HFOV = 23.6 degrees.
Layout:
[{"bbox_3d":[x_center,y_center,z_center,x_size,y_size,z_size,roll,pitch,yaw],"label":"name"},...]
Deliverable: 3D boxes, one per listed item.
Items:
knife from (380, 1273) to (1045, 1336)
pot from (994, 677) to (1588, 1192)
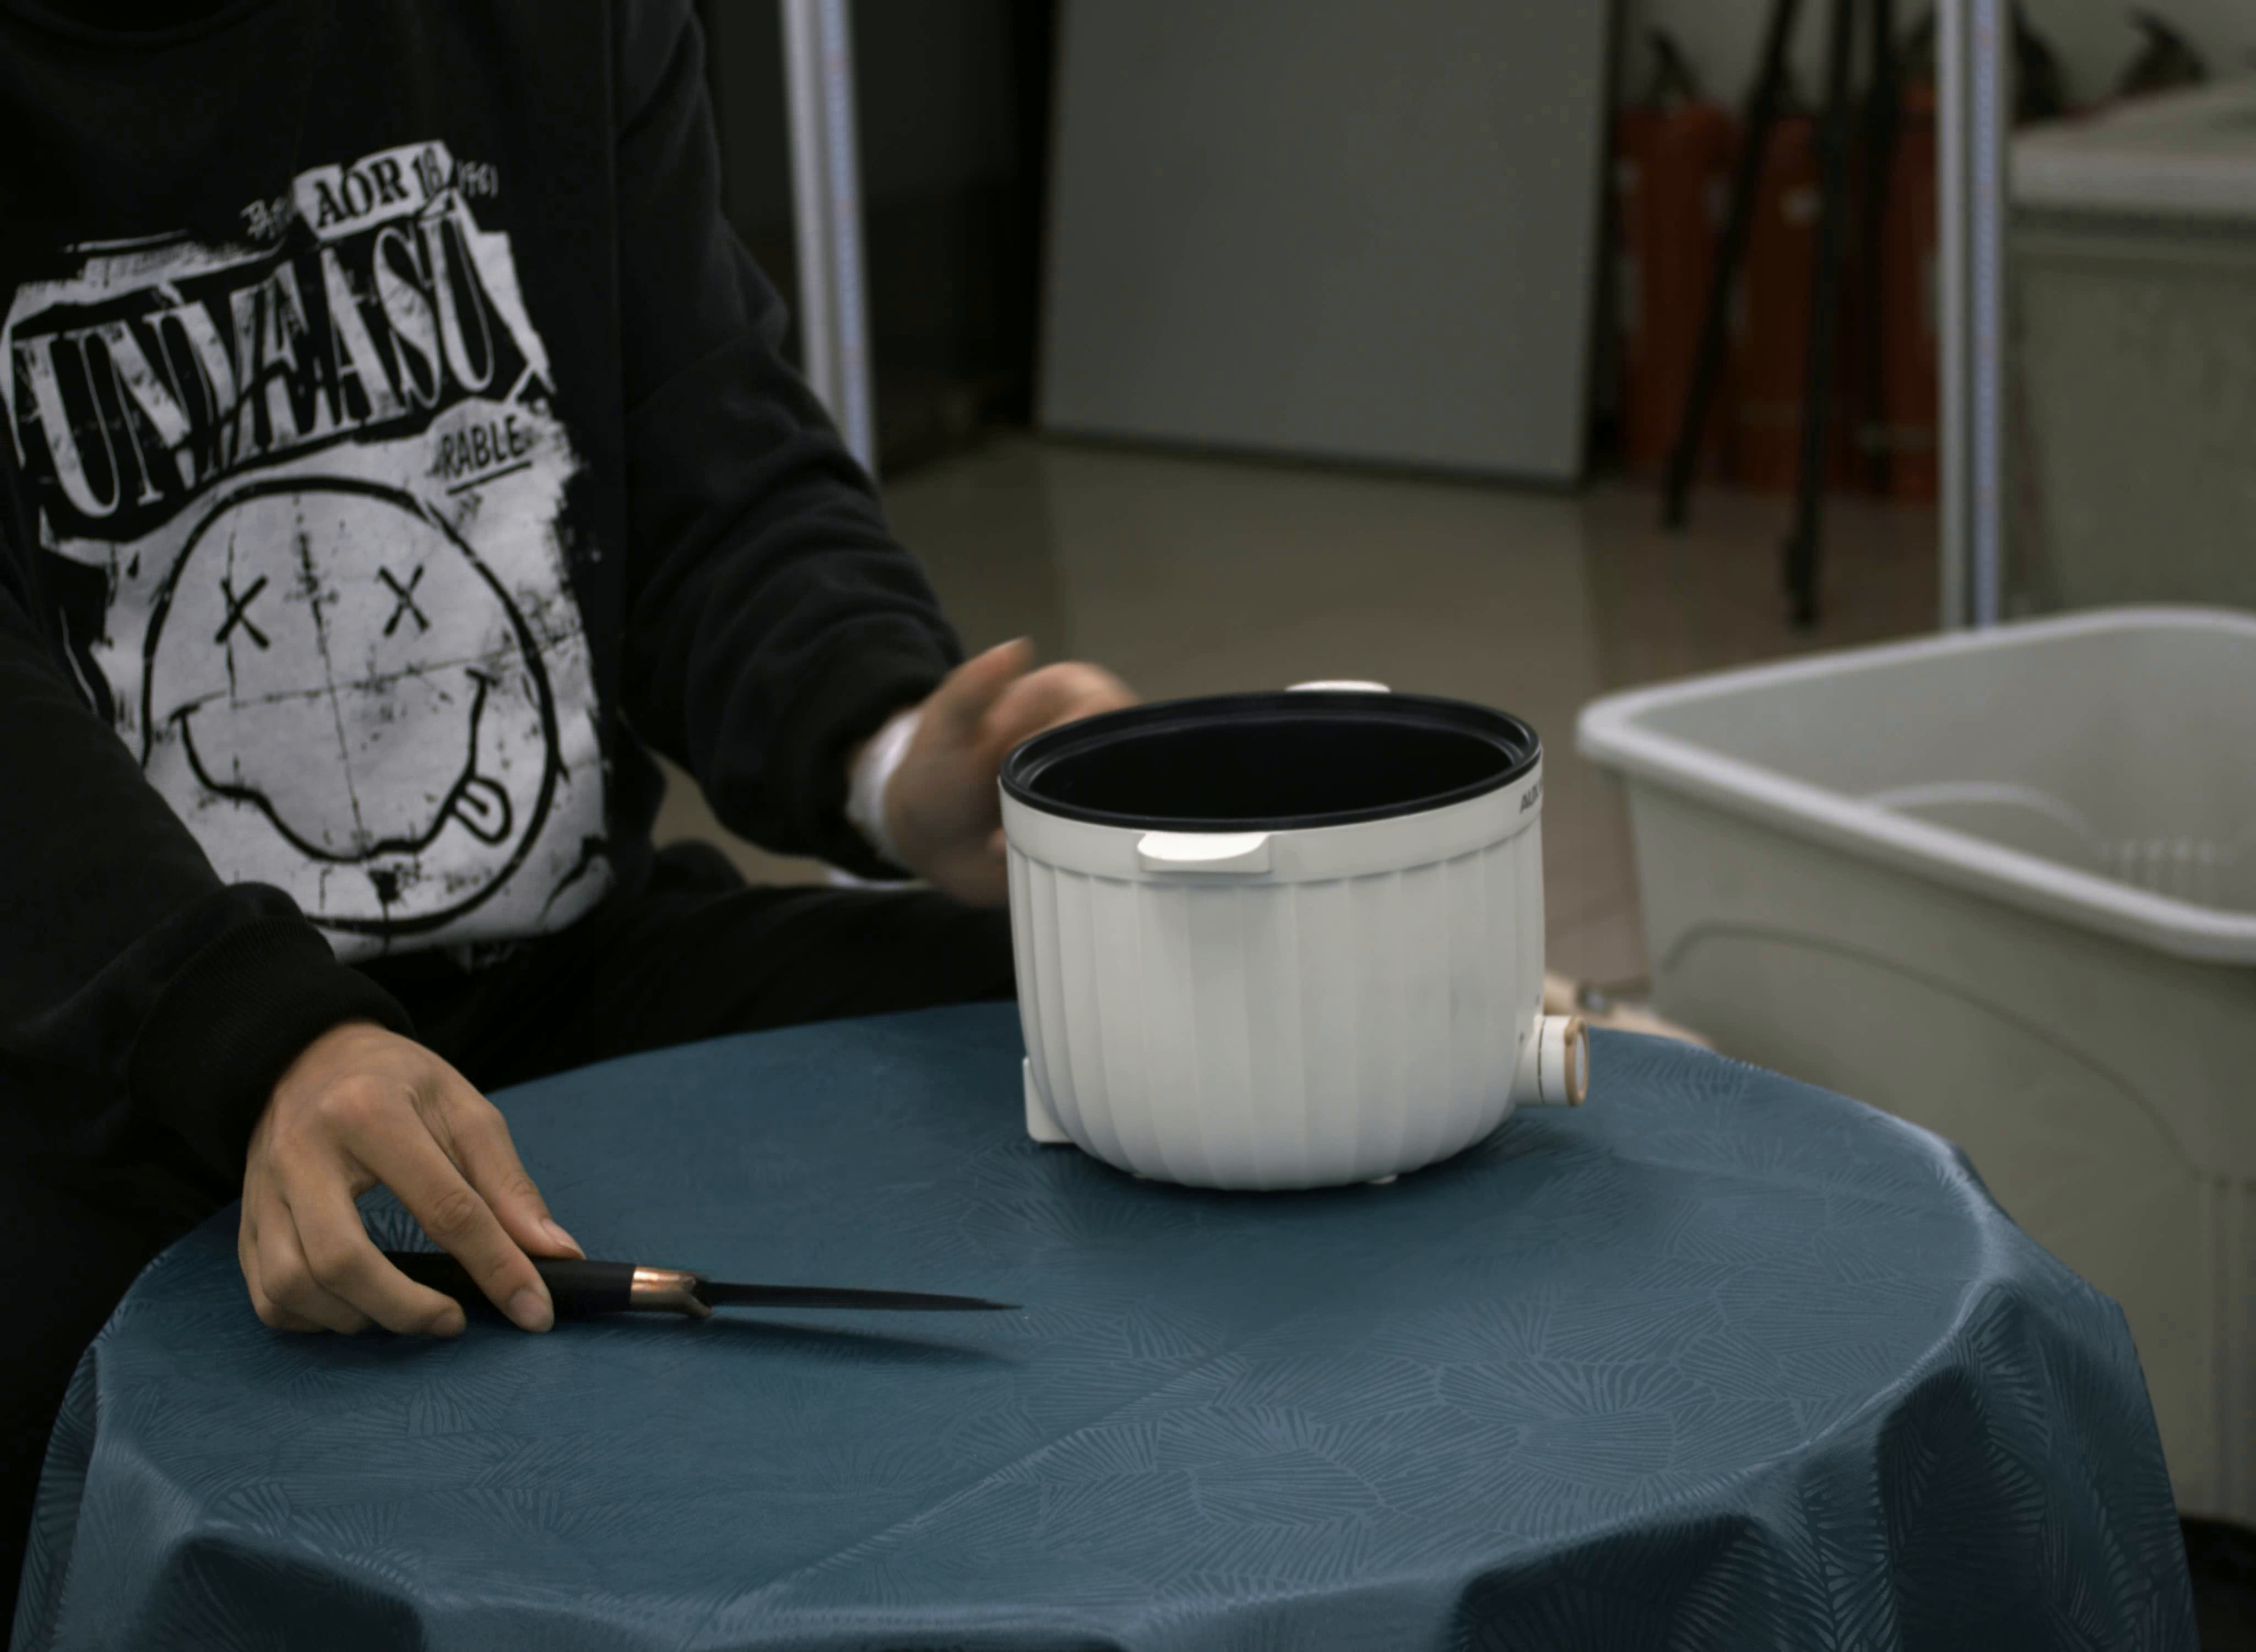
[{"bbox_3d":[-0.130,0.148,1.672,0.225,0.026,0.017,-2,56,23],"label":"knife"},{"bbox_3d":[0.056,0.038,1.800,0.190,0.144,0.239,-4,15,16],"label":"pot"}]
